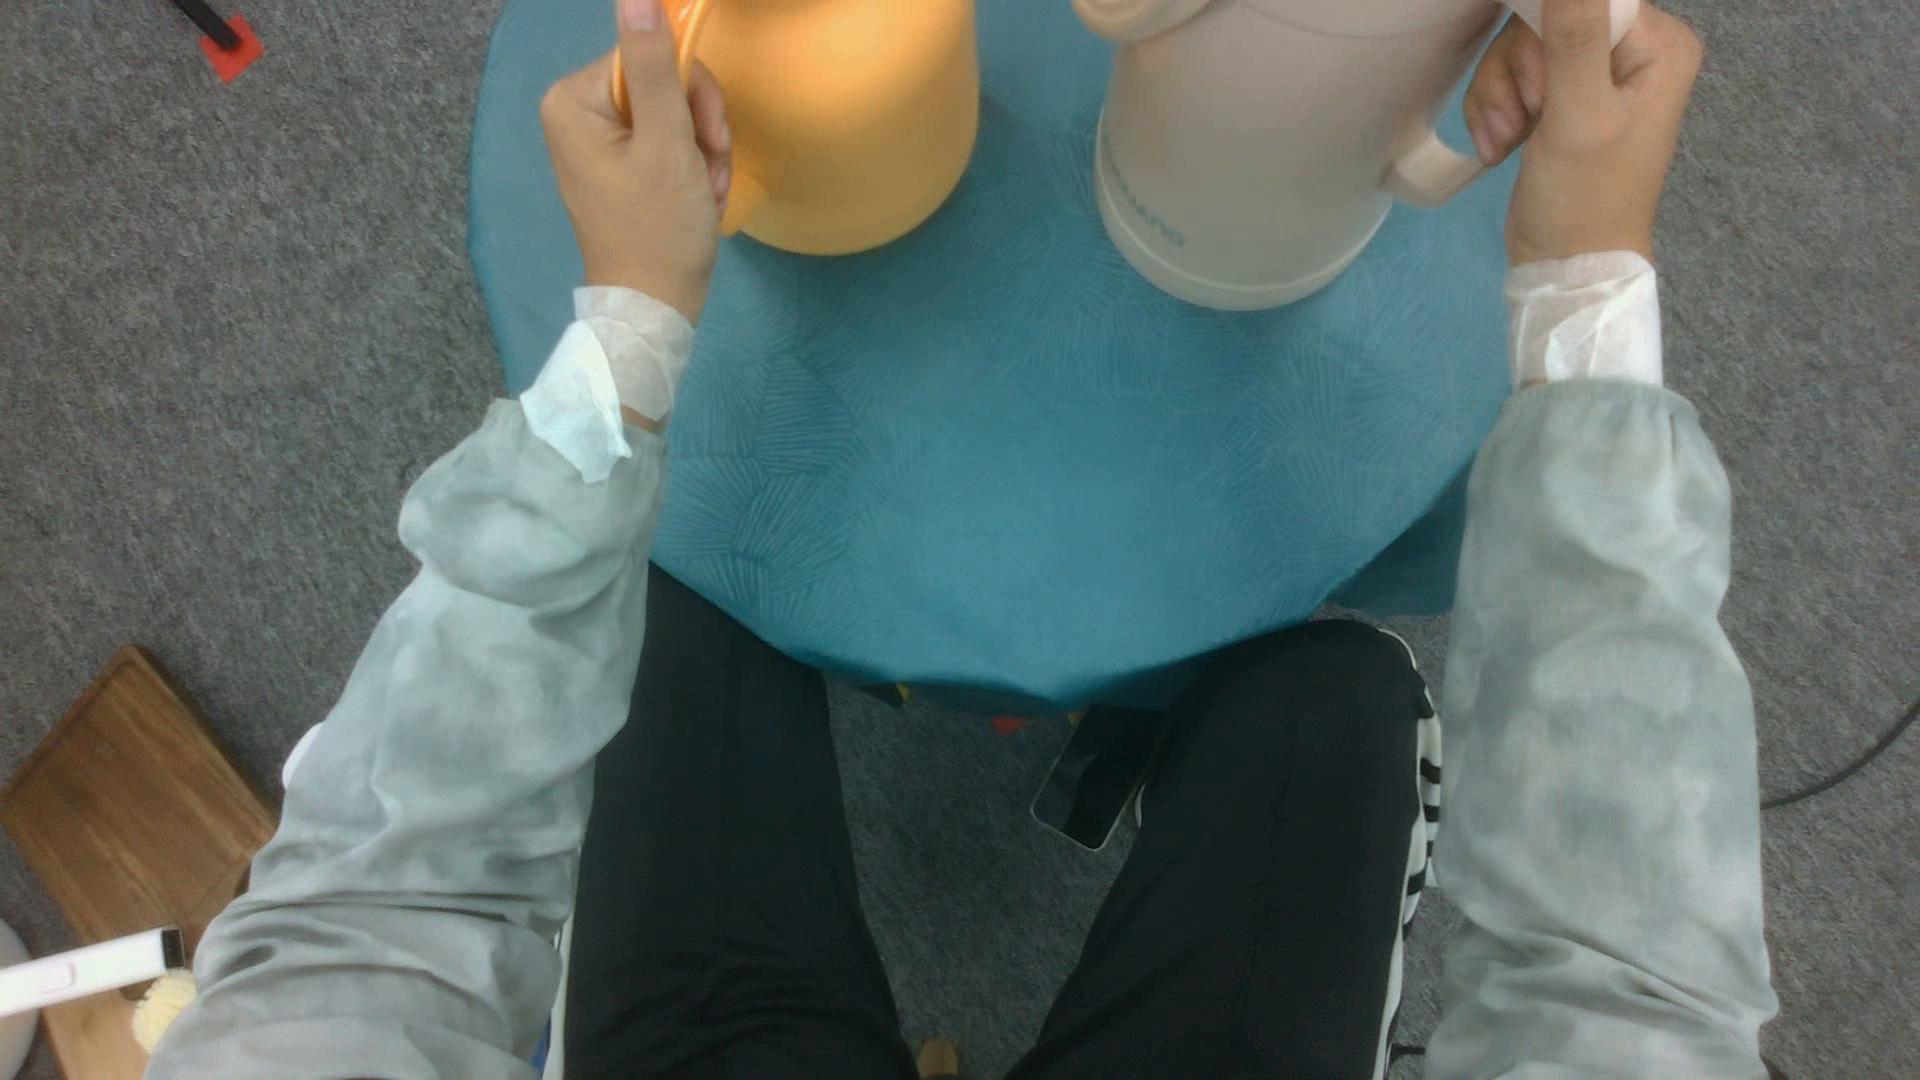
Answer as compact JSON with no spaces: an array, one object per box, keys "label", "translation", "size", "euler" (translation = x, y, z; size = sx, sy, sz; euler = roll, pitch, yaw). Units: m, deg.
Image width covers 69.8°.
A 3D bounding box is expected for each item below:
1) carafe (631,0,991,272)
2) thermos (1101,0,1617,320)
[{"label":"carafe","translation":[-0.078,-0.228,0.649],"size":[0.163,0.260,0.203],"euler":[24,79,9]},{"label":"thermos","translation":[0.157,-0.224,0.572],"size":[0.175,0.405,0.207],"euler":[-39,79,-7]}]
